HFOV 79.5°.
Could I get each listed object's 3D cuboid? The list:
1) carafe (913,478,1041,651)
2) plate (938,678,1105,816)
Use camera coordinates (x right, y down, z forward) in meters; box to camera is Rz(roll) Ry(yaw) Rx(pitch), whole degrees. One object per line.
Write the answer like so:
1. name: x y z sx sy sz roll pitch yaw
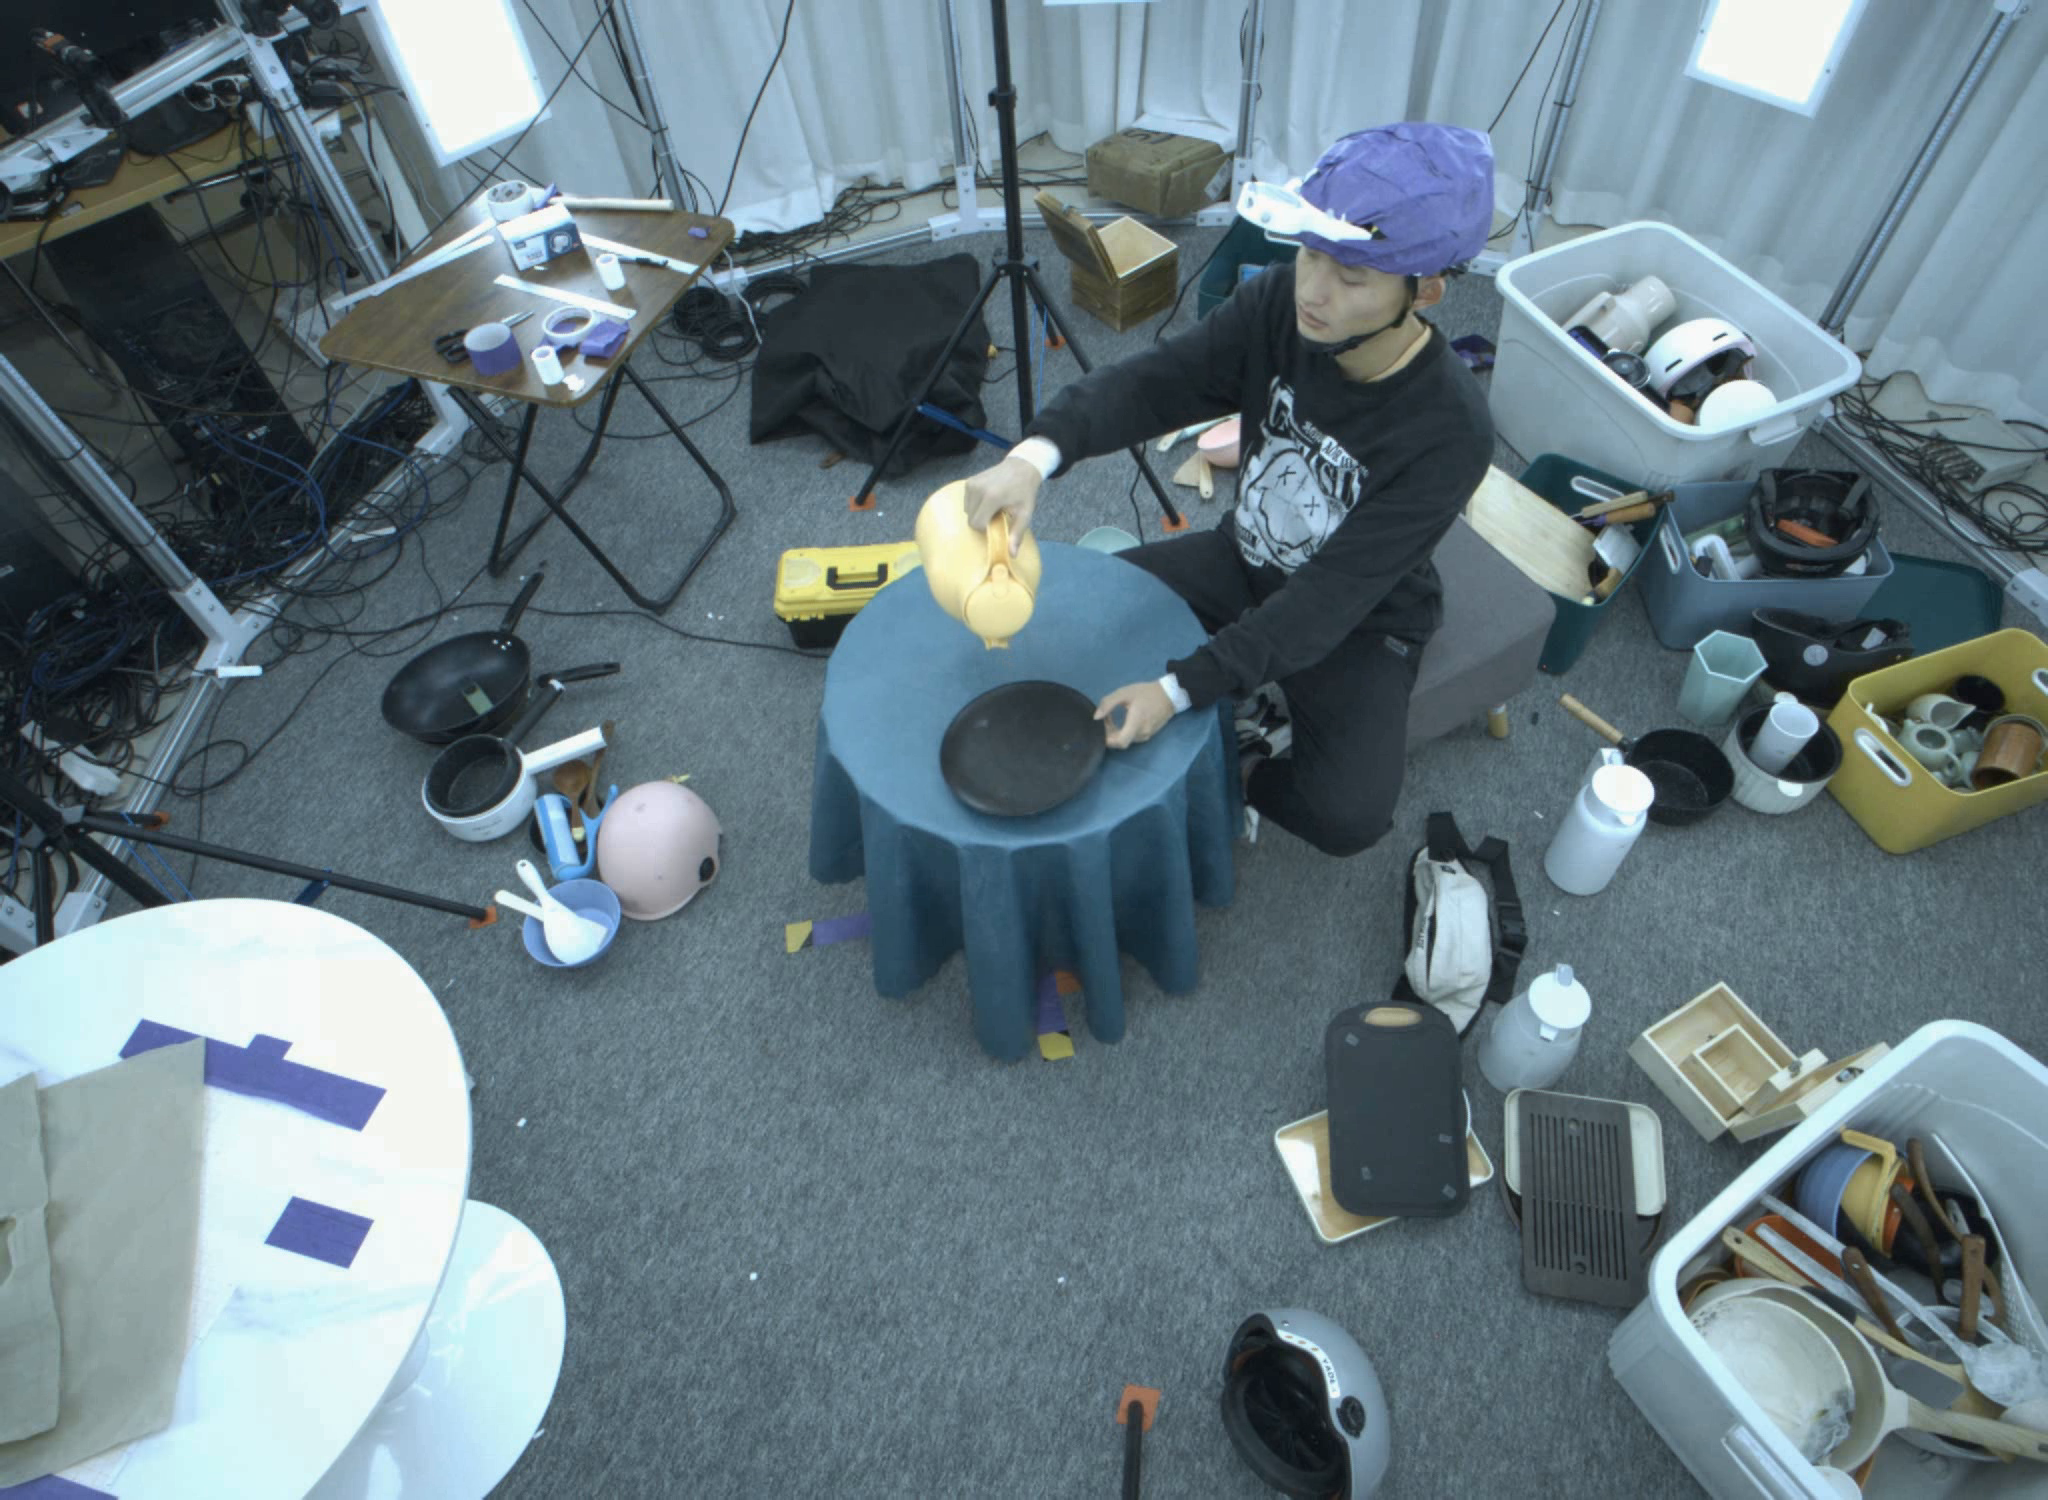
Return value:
1. carafe: -0.057 -0.274 1.690 0.165 0.204 0.255 -5 41 -15
2. plate: -0.003 -0.003 1.756 0.243 0.024 0.242 -5 53 8
